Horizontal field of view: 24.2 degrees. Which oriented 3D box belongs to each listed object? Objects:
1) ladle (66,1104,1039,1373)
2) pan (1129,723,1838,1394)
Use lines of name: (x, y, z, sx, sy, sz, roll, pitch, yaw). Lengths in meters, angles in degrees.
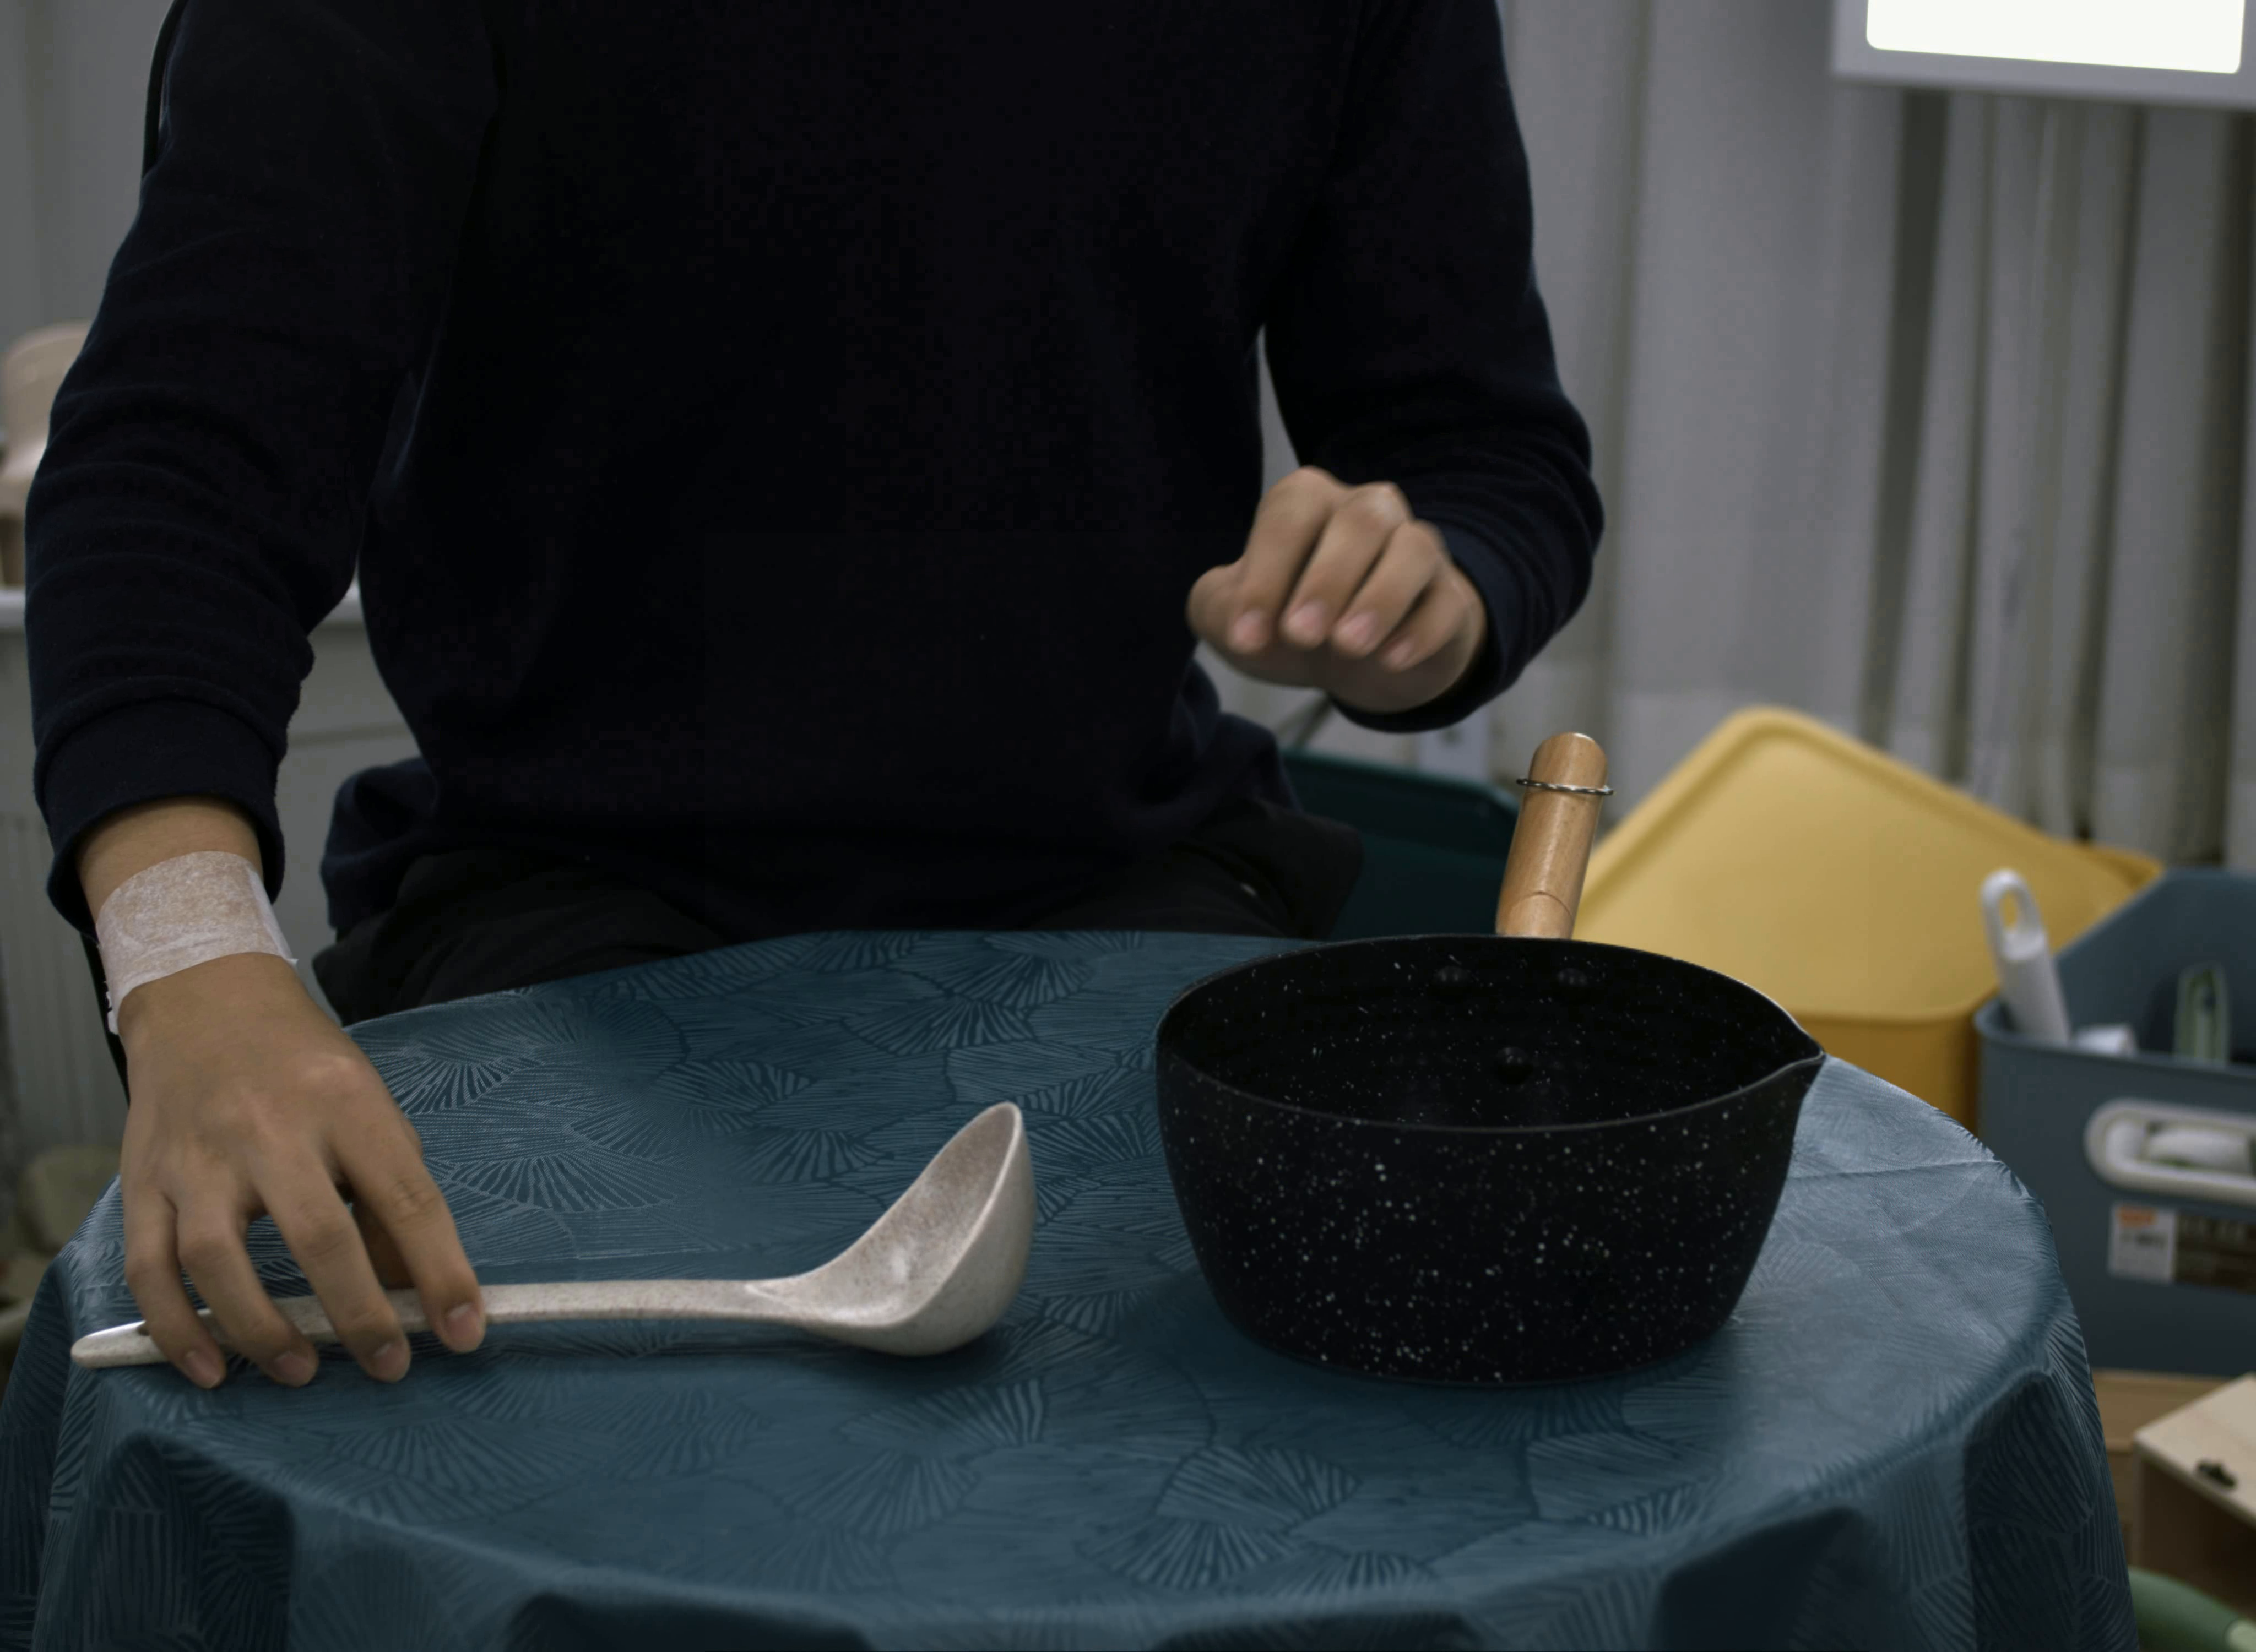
ladle: (-0.162, 0.117, 1.478, 0.274, 0.070, 0.088, -1, 25, -4)
pan: (0.114, 0.065, 1.595, 0.206, 0.109, 0.342, 2, 17, 9)
